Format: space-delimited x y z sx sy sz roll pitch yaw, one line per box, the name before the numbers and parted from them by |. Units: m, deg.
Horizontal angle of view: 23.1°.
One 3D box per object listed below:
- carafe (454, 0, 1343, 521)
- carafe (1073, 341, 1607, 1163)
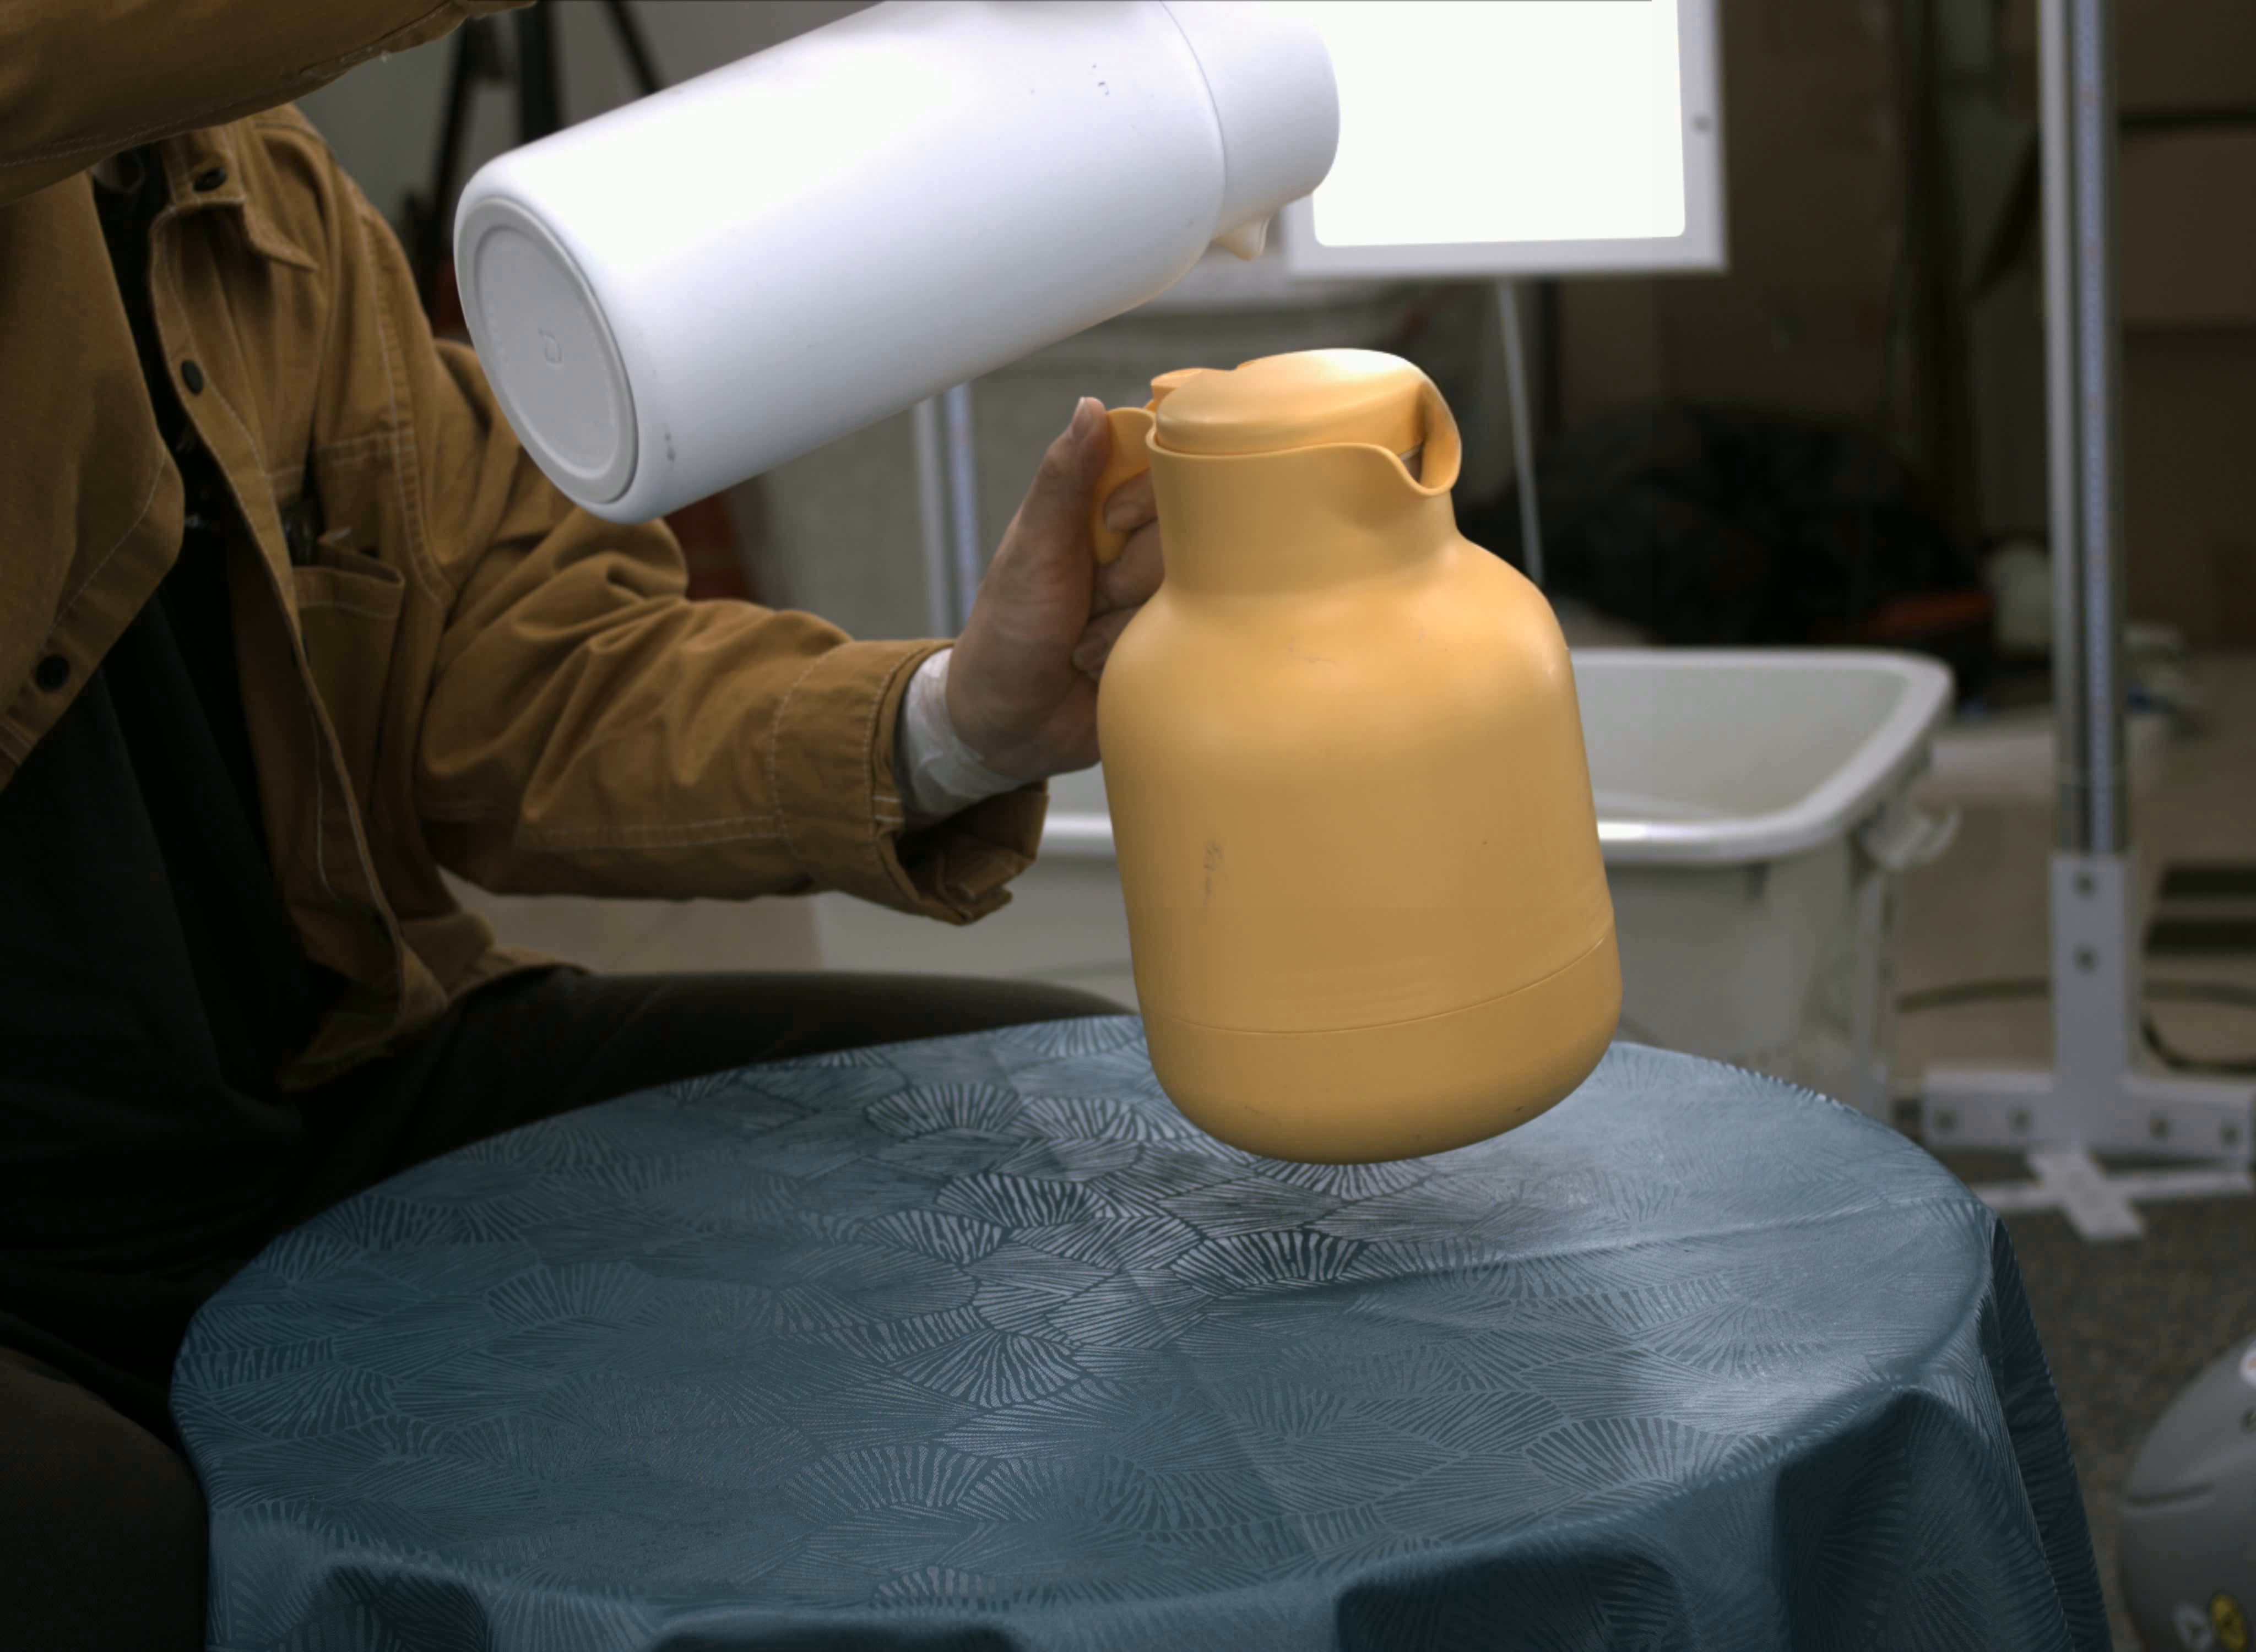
carafe | -0.068 -0.208 1.679 0.264 0.173 0.126 -25 37 -23
carafe | 0.059 -0.033 1.845 0.160 0.261 0.206 -18 20 -29
